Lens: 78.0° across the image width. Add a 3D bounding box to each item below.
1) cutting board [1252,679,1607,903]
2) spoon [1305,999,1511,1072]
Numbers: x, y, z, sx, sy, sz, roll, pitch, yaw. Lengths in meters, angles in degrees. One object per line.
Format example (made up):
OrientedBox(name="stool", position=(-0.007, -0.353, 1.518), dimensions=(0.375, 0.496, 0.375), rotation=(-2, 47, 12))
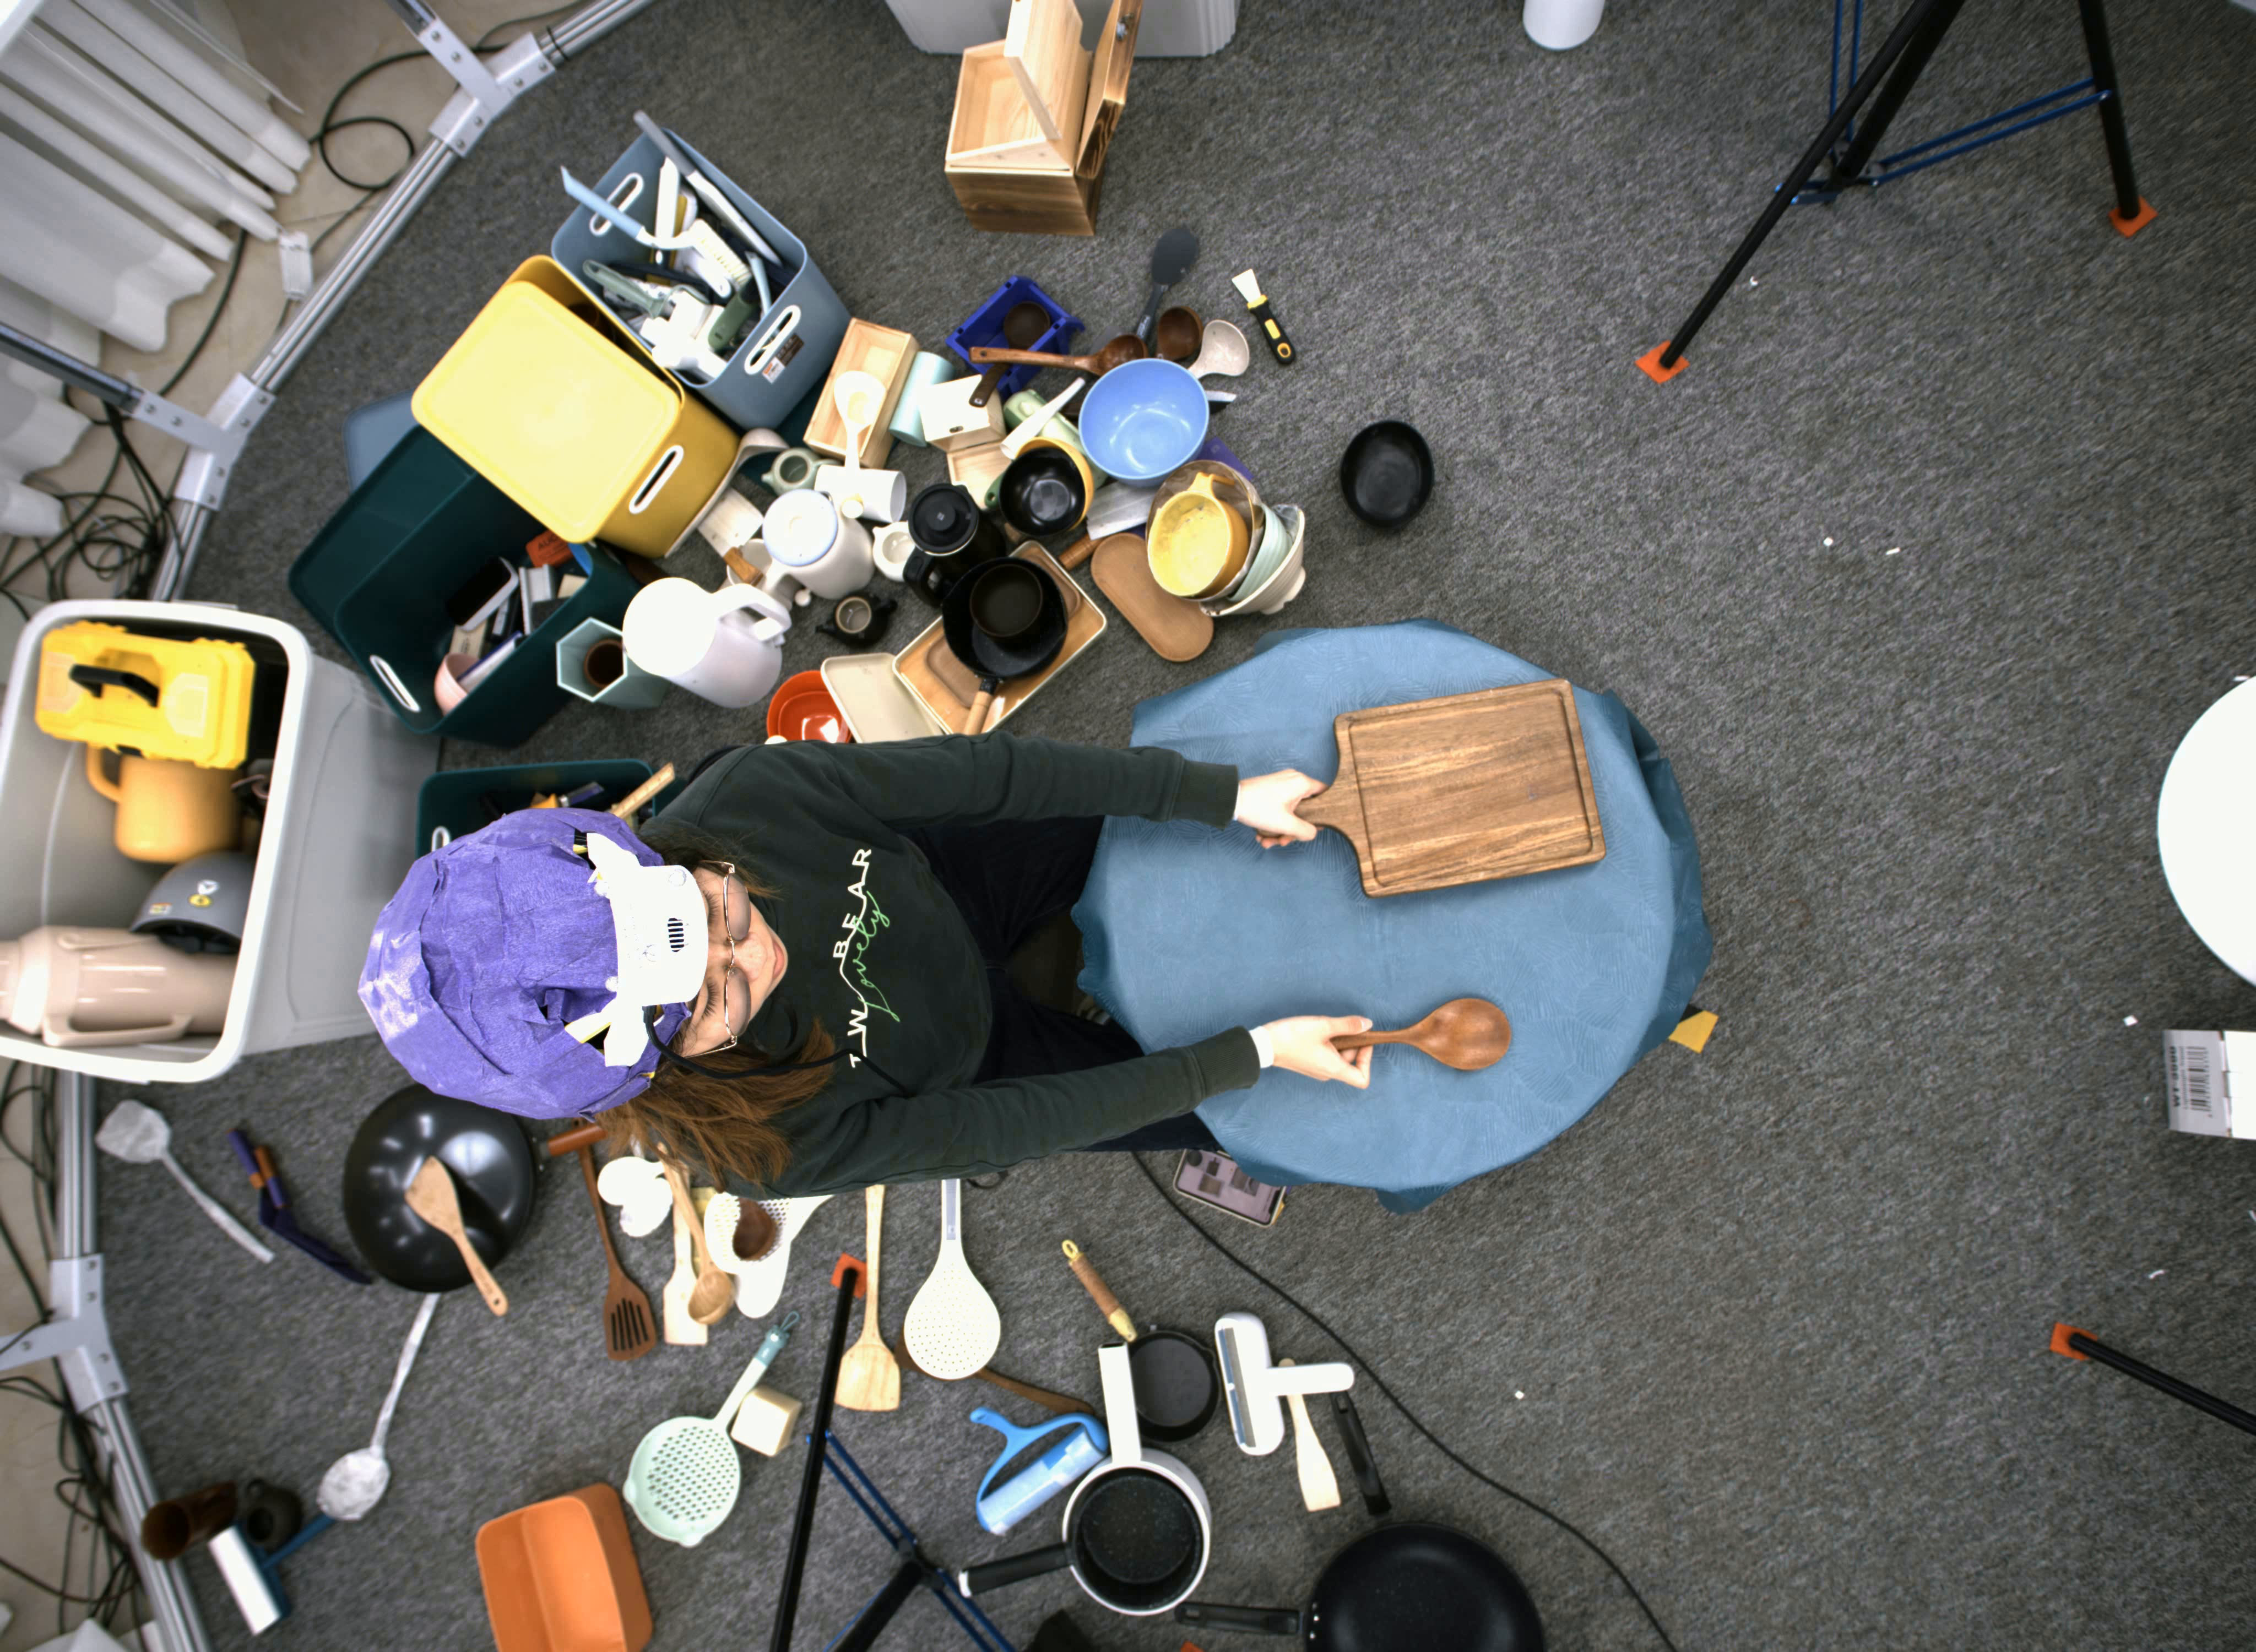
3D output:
OrientedBox(name="cutting board", position=(0.303, -0.031, 1.426), dimensions=(0.353, 0.023, 0.199), rotation=(-9, 83, 4))
OrientedBox(name="spoon", position=(0.289, 0.216, 1.422), dimensions=(0.216, 0.017, 0.075), rotation=(-2, 89, -5))
